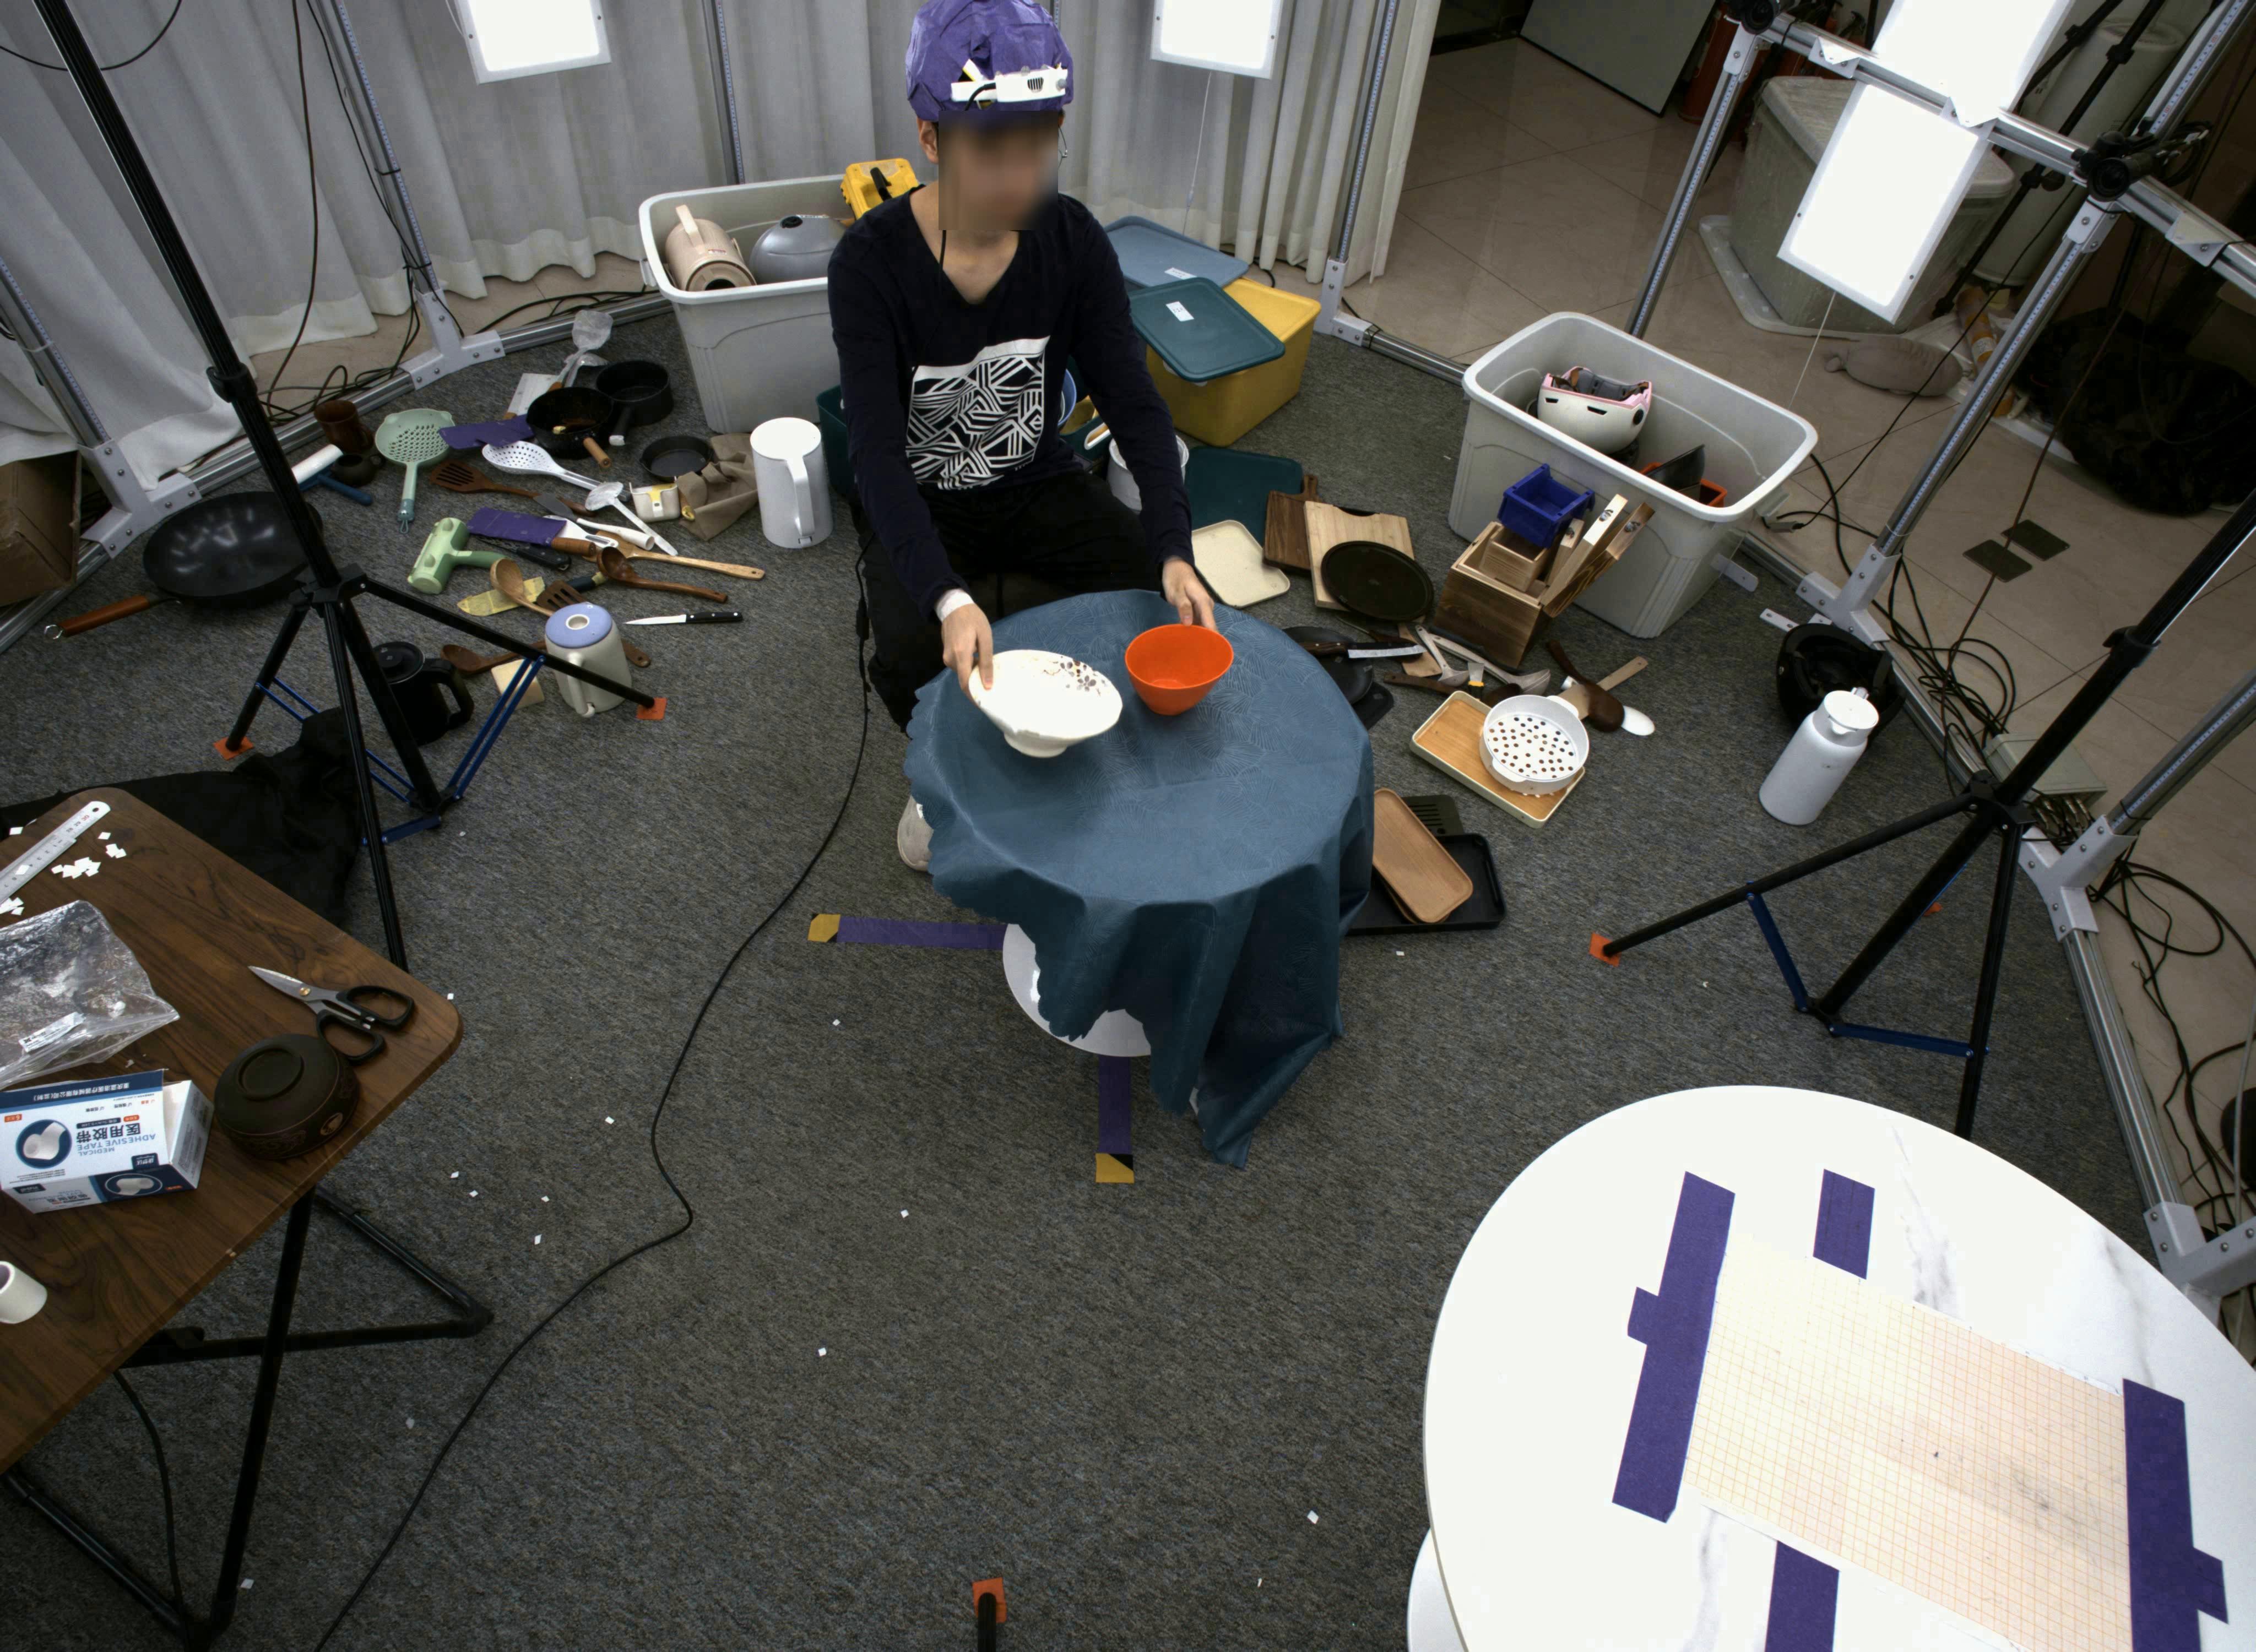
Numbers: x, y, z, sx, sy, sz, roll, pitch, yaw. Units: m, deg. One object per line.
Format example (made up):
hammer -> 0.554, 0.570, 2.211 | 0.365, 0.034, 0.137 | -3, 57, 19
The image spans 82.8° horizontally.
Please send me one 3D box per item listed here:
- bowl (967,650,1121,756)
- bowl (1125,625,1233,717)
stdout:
bowl -> -0.116, -0.148, 1.690 | 0.203, 0.076, 0.209 | 10, 34, -7
bowl -> 0.067, -0.206, 1.786 | 0.148, 0.102, 0.152 | 1, 48, -2
